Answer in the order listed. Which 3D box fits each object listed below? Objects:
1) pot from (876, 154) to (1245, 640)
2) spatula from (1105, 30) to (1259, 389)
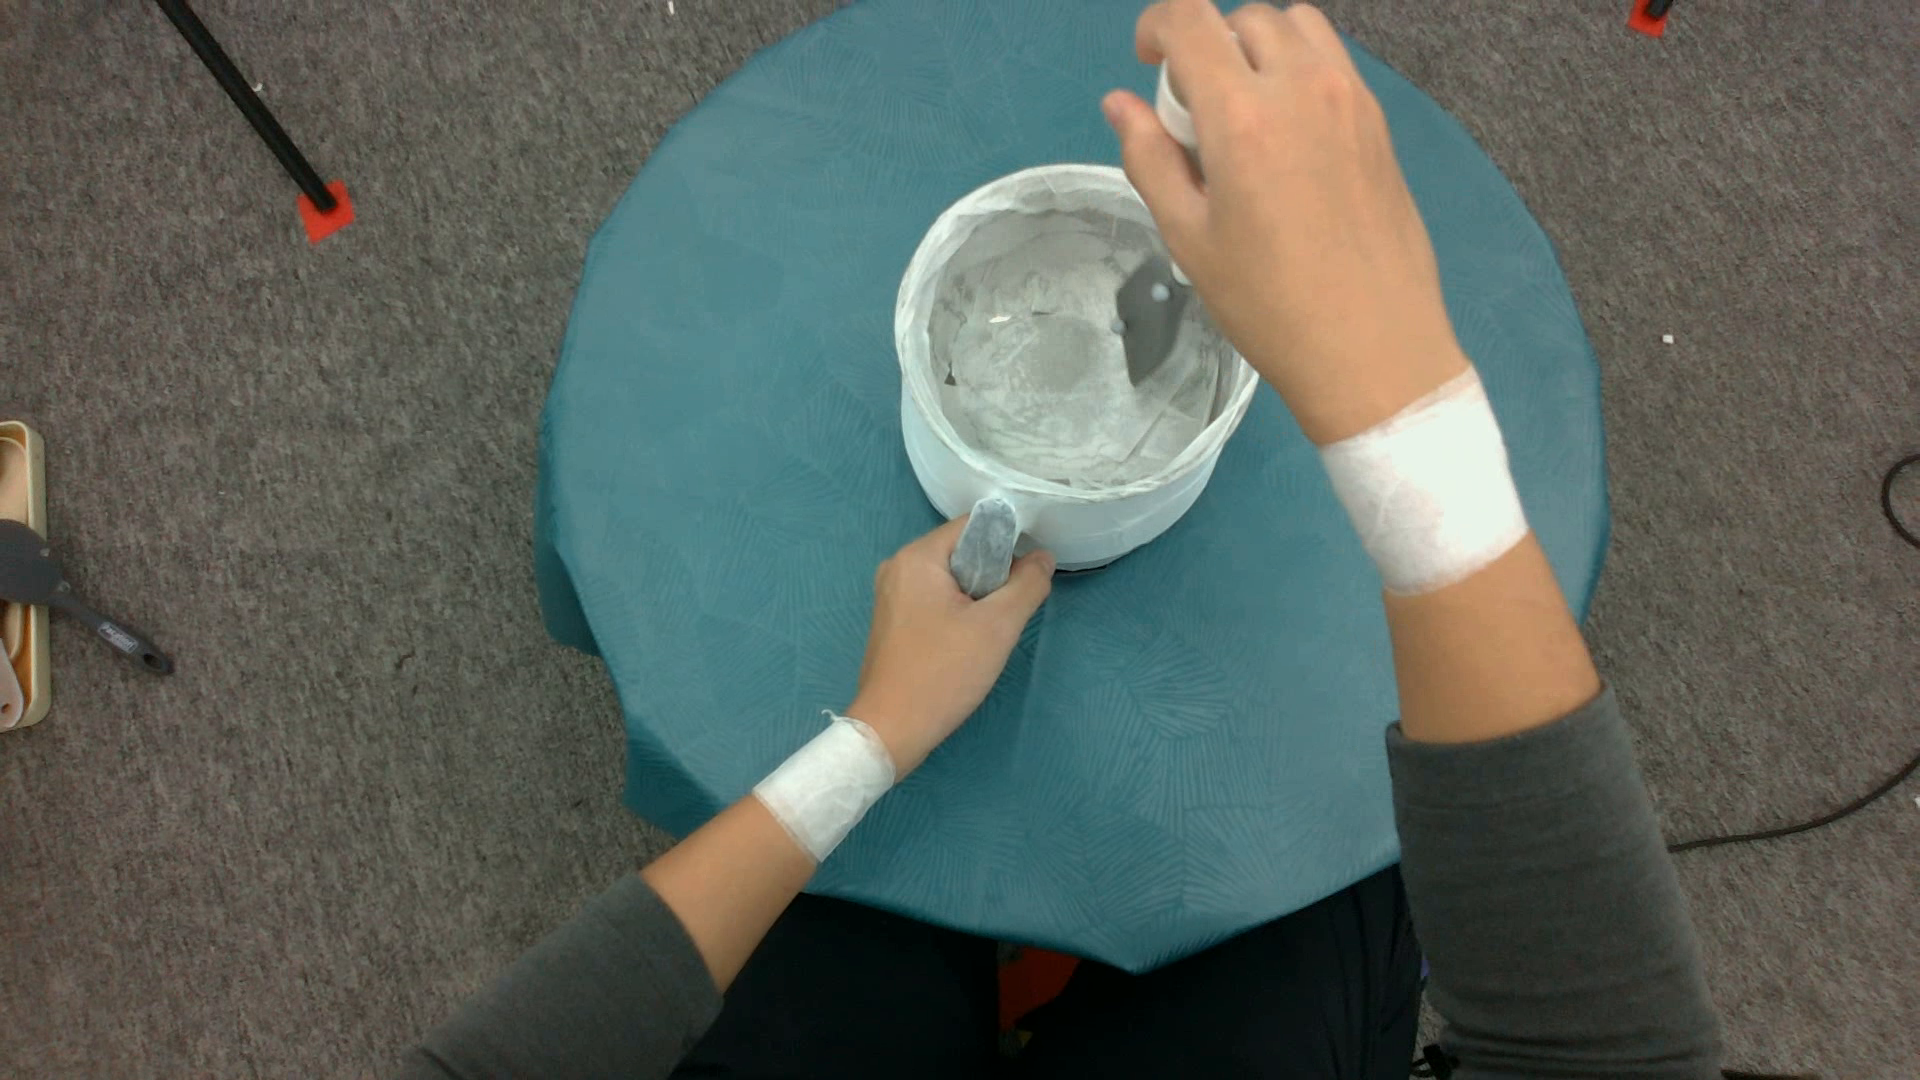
[{"bbox_3d":[0.036,-0.064,0.710,0.178,0.136,0.234,21,73,5],"label":"pot"},{"bbox_3d":[0.085,-0.127,0.585,0.032,0.287,0.059,-10,81,0],"label":"spatula"}]
